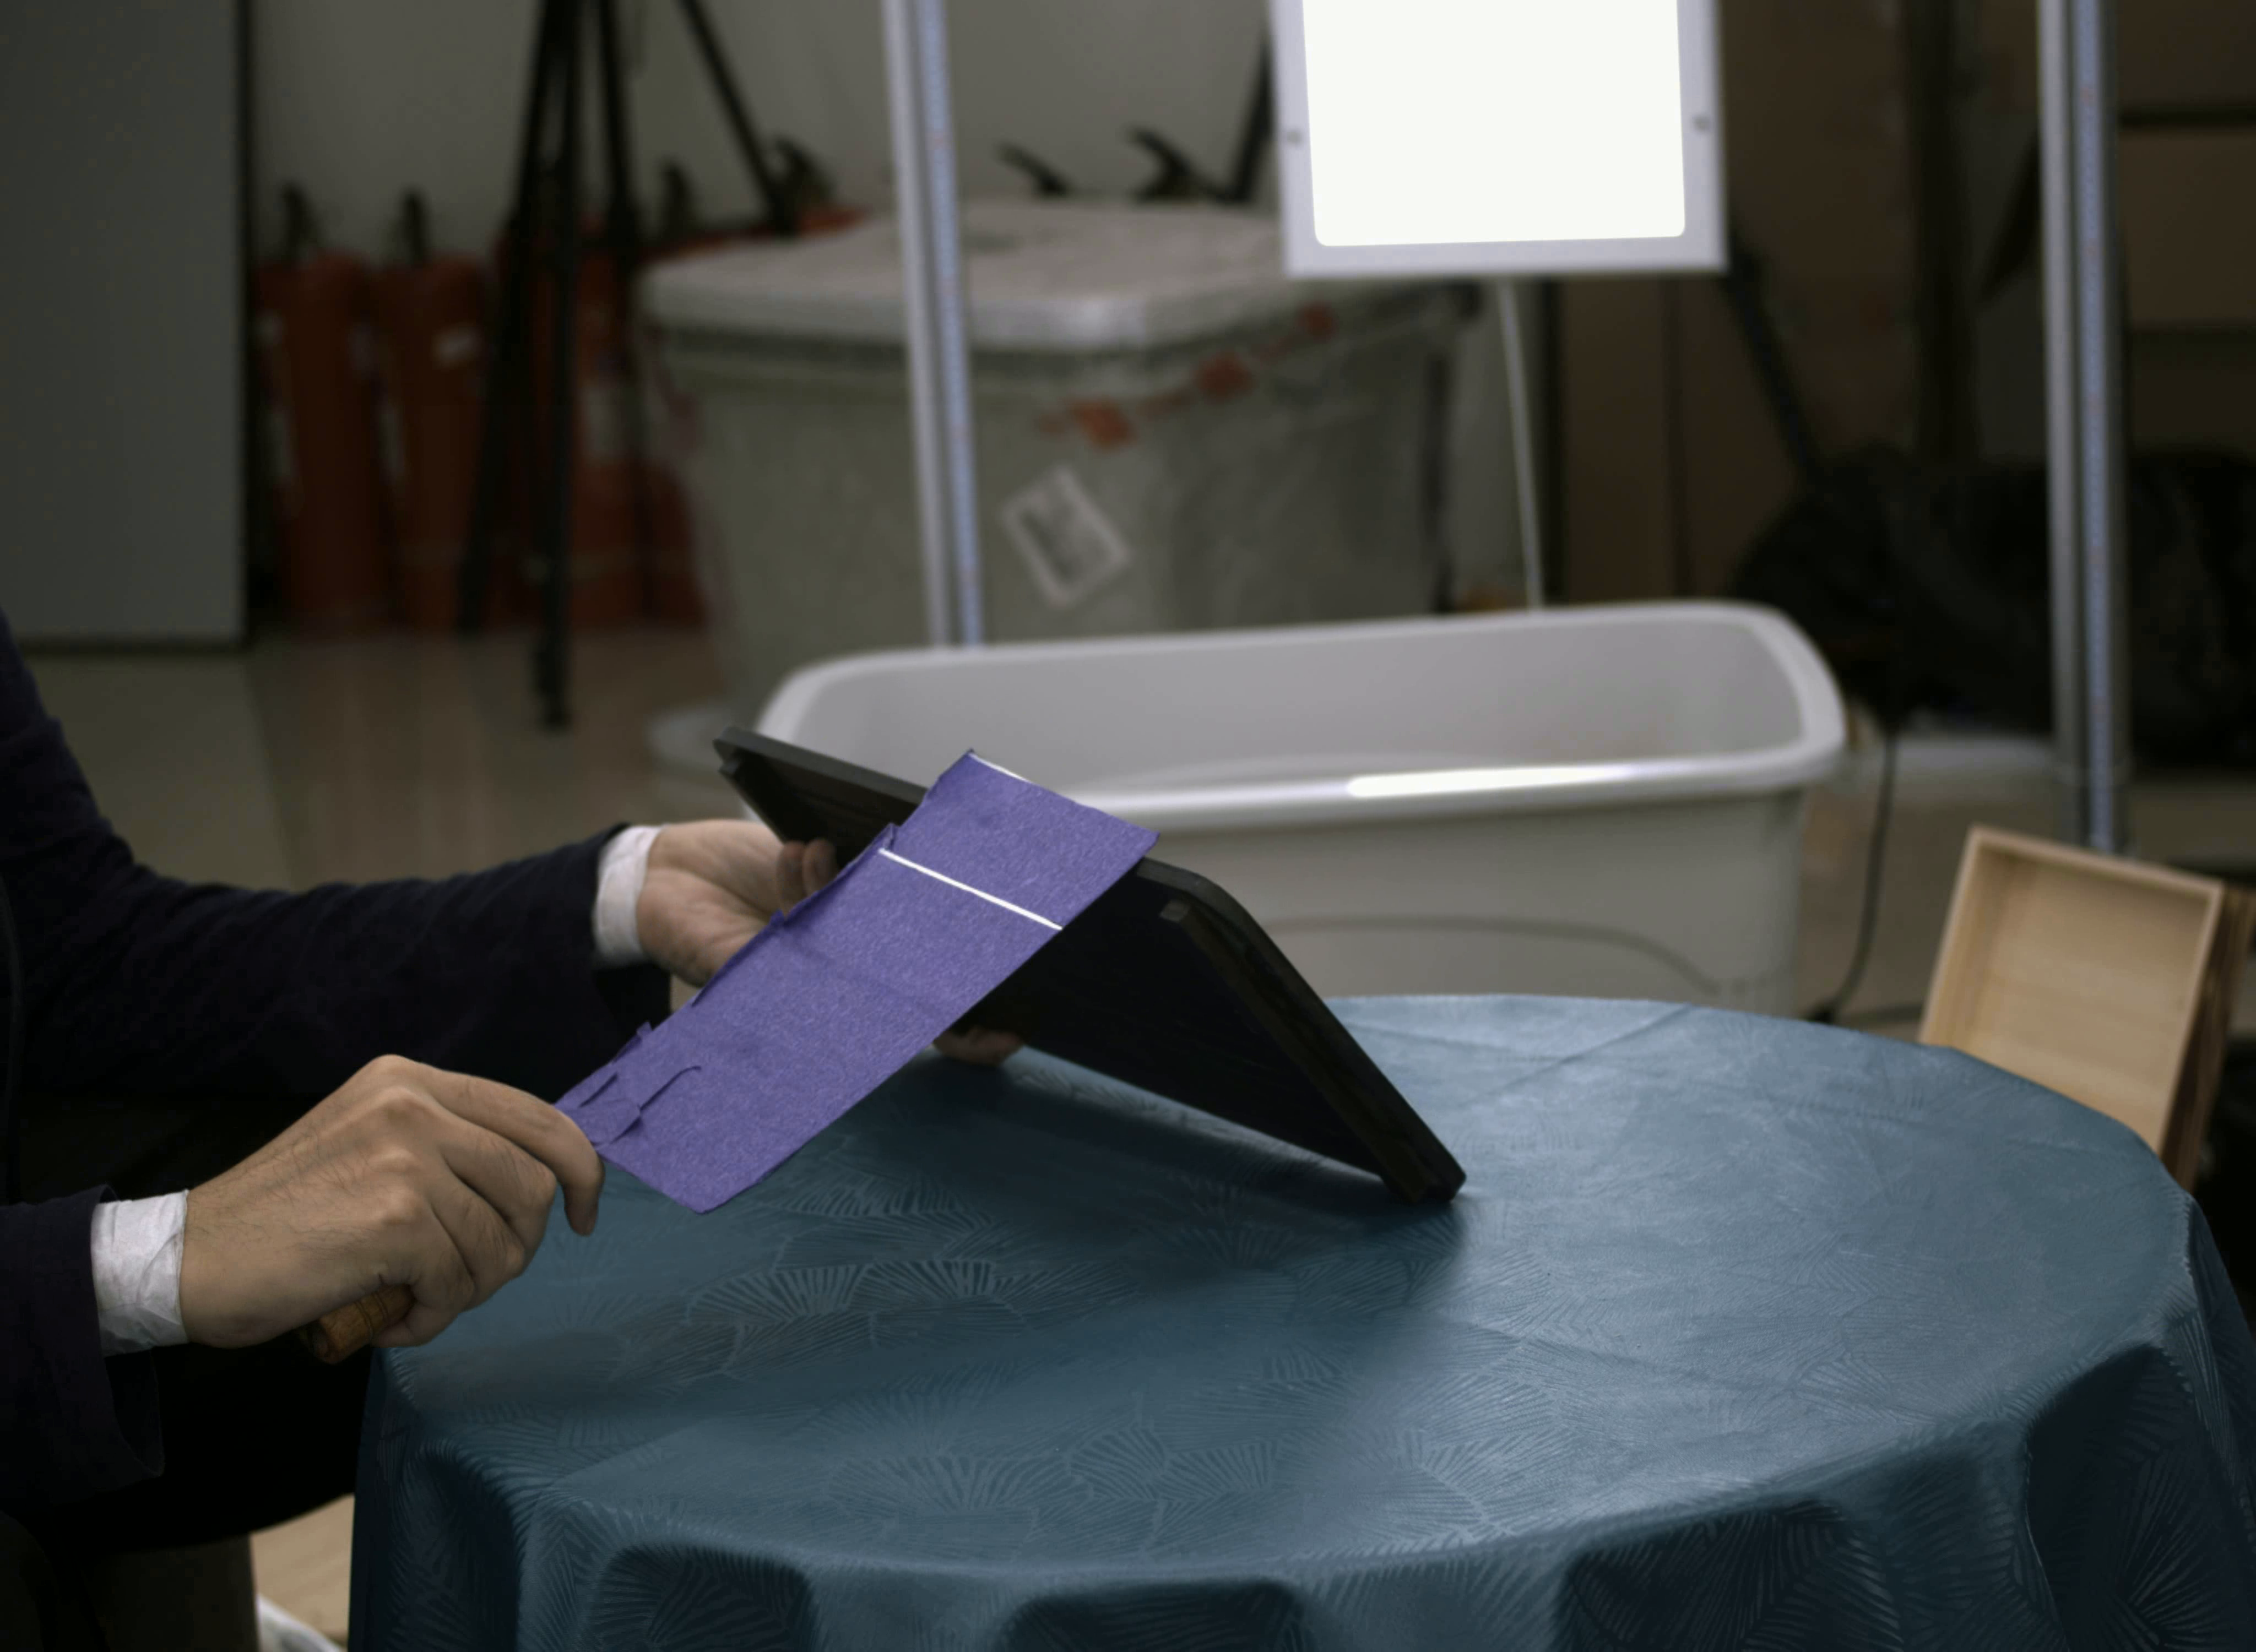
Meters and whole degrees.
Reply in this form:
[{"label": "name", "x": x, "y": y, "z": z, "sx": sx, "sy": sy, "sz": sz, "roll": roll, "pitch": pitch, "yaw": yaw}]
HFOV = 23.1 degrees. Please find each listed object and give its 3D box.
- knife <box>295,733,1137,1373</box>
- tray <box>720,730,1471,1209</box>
[{"label": "knife", "x": -0.127, "y": 0.075, "z": 1.768, "sx": 0.310, "sy": 0.032, "sz": 0.106, "roll": -42, "pitch": 42, "yaw": -23}, {"label": "tray", "x": -0.019, "y": 0.050, "z": 1.932, "sx": 0.018, "sy": 0.168, "sz": 0.312, "roll": -51, "pitch": 35, "yaw": -16}]
